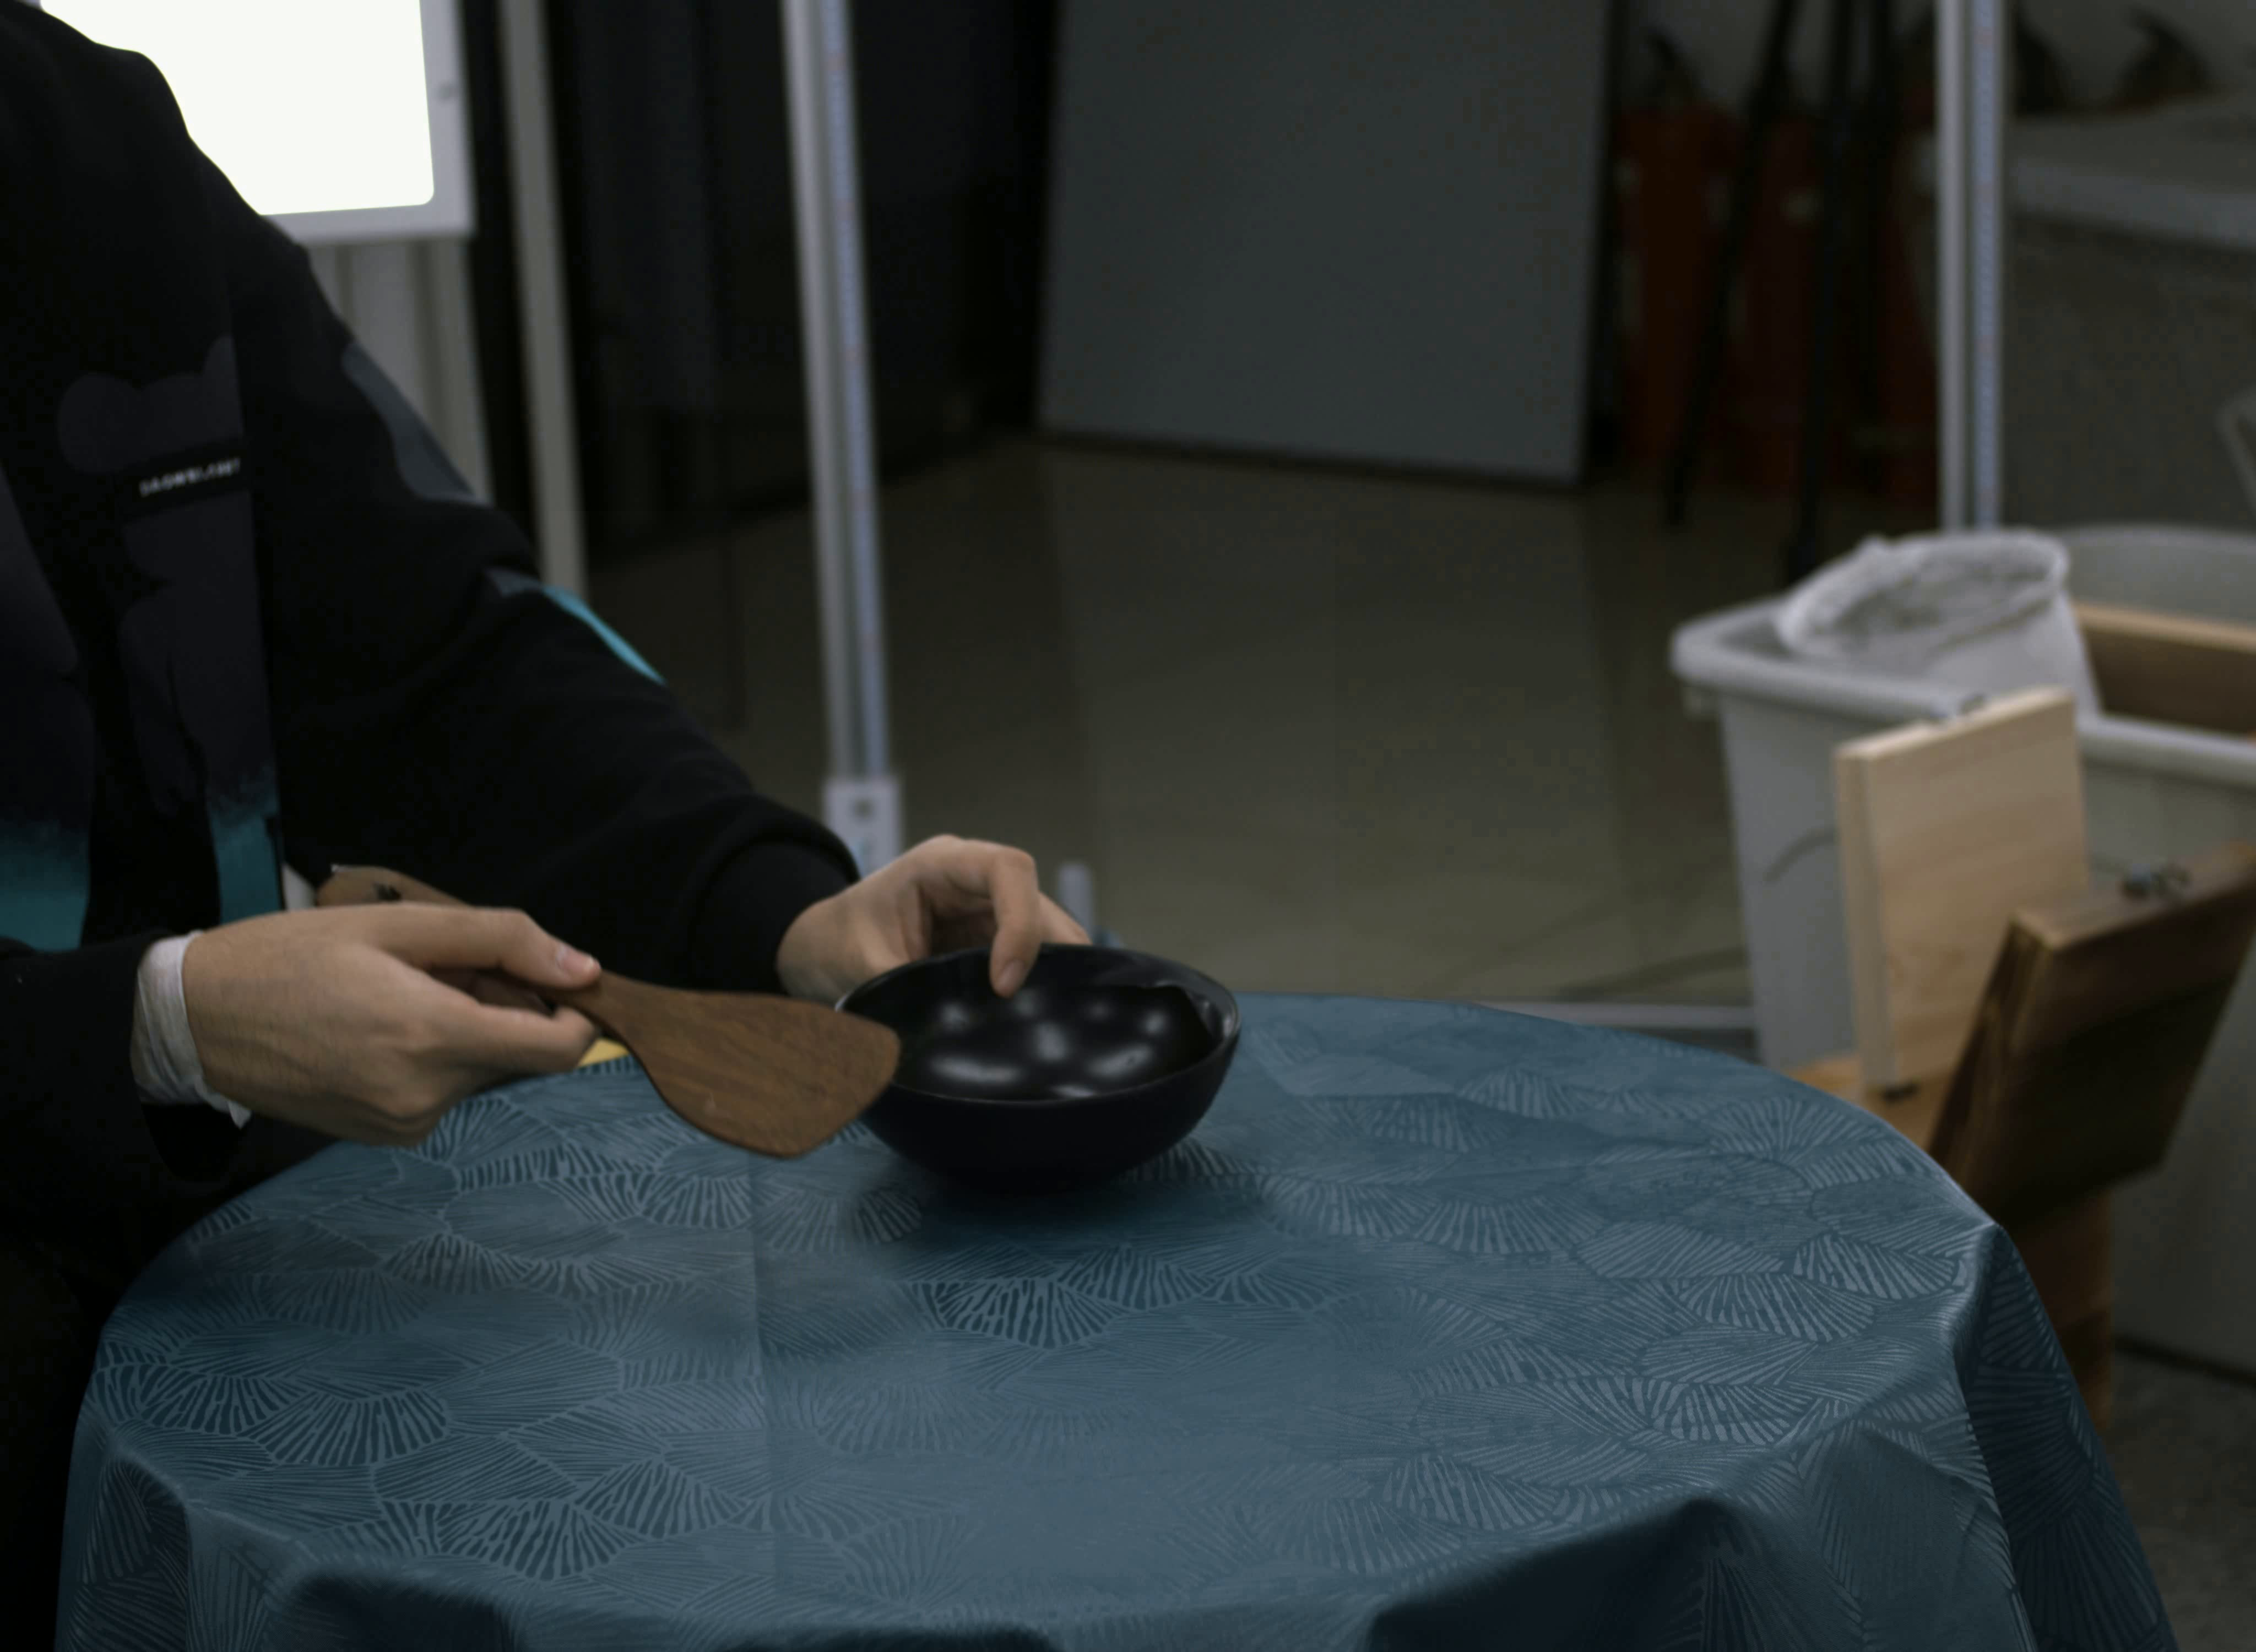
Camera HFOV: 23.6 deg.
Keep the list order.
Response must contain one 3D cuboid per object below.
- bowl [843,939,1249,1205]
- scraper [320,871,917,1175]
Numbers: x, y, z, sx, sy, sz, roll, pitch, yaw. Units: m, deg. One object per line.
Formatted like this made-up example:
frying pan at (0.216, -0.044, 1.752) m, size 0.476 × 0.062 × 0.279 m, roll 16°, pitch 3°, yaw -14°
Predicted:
bowl at (-0.027, 0.088, 1.790) m, size 0.138 × 0.050 × 0.140 m, roll -4°, pitch 22°, yaw 1°
scraper at (-0.167, 0.057, 1.713) m, size 0.212 × 0.011 × 0.075 m, roll 22°, pitch 41°, yaw 24°
